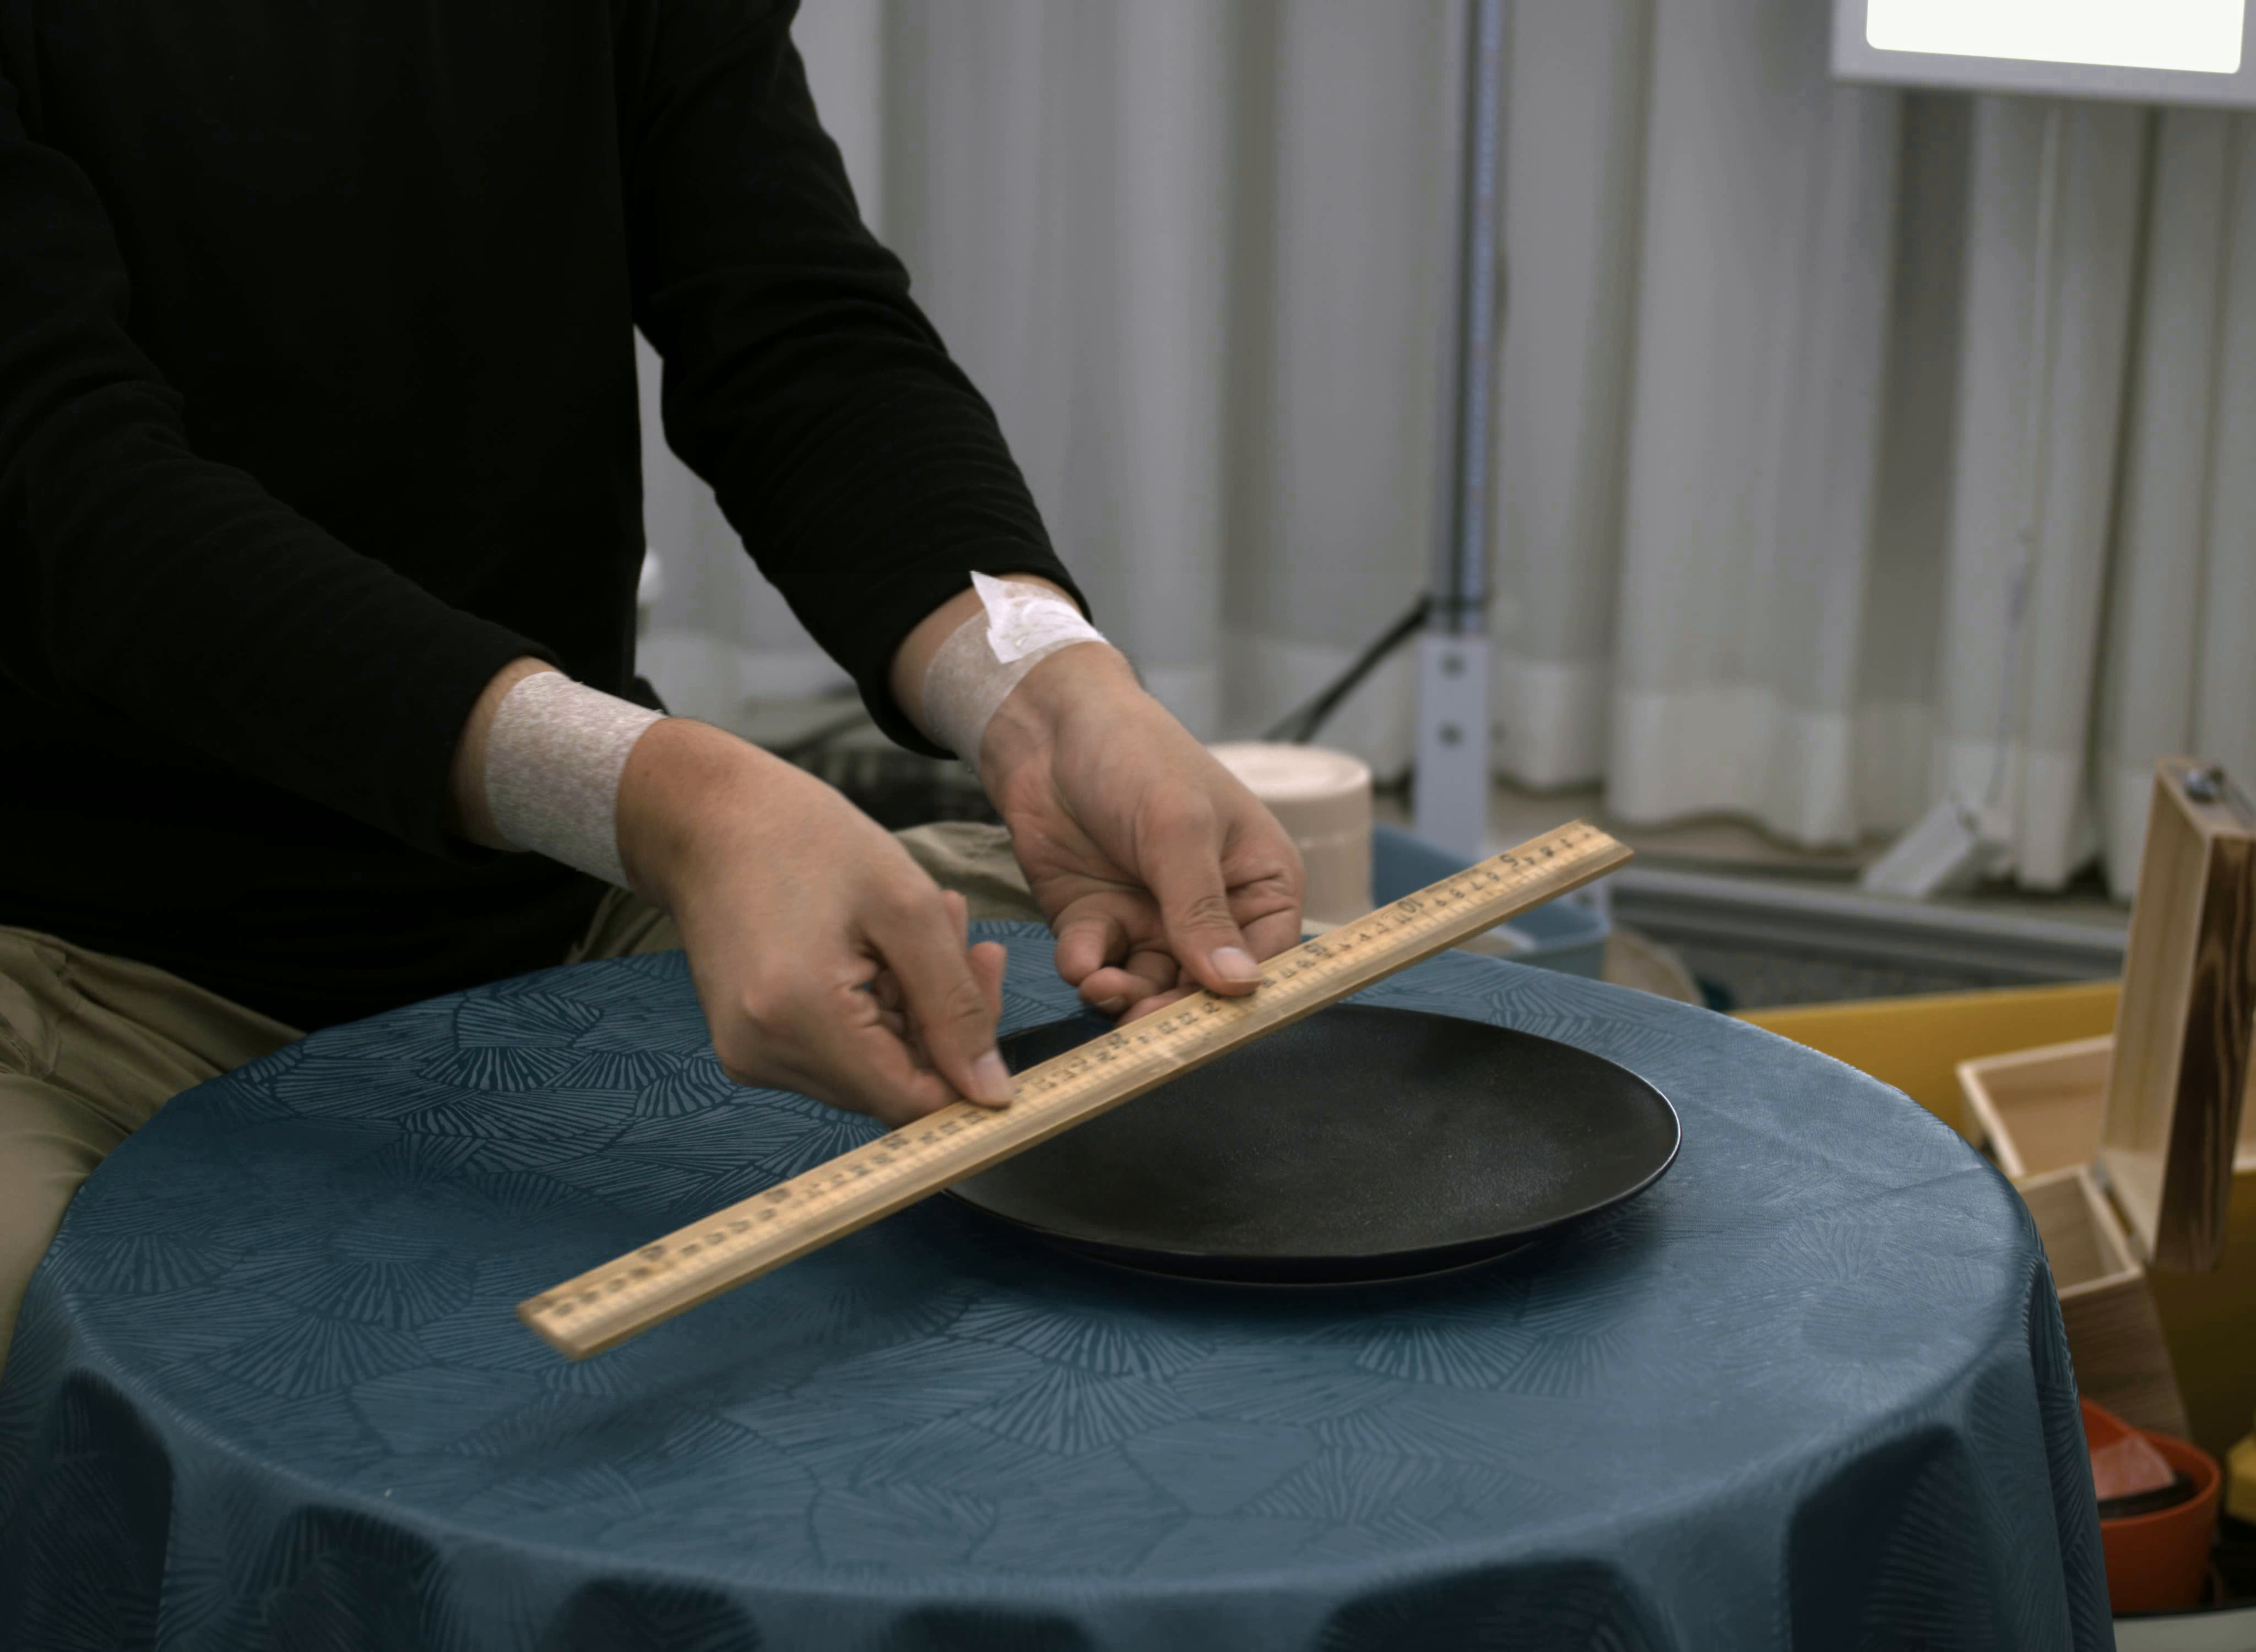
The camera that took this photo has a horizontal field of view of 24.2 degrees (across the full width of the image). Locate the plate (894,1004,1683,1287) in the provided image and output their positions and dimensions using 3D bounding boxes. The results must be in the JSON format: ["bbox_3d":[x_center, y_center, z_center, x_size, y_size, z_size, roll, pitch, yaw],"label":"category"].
[{"bbox_3d":[0.050,0.100,1.623,0.243,0.023,0.243,0,15,1],"label":"plate"}]

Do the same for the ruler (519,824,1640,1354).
[{"bbox_3d":[0.003,0.069,1.591,0.026,0.006,0.502,32,34,29],"label":"ruler"}]
